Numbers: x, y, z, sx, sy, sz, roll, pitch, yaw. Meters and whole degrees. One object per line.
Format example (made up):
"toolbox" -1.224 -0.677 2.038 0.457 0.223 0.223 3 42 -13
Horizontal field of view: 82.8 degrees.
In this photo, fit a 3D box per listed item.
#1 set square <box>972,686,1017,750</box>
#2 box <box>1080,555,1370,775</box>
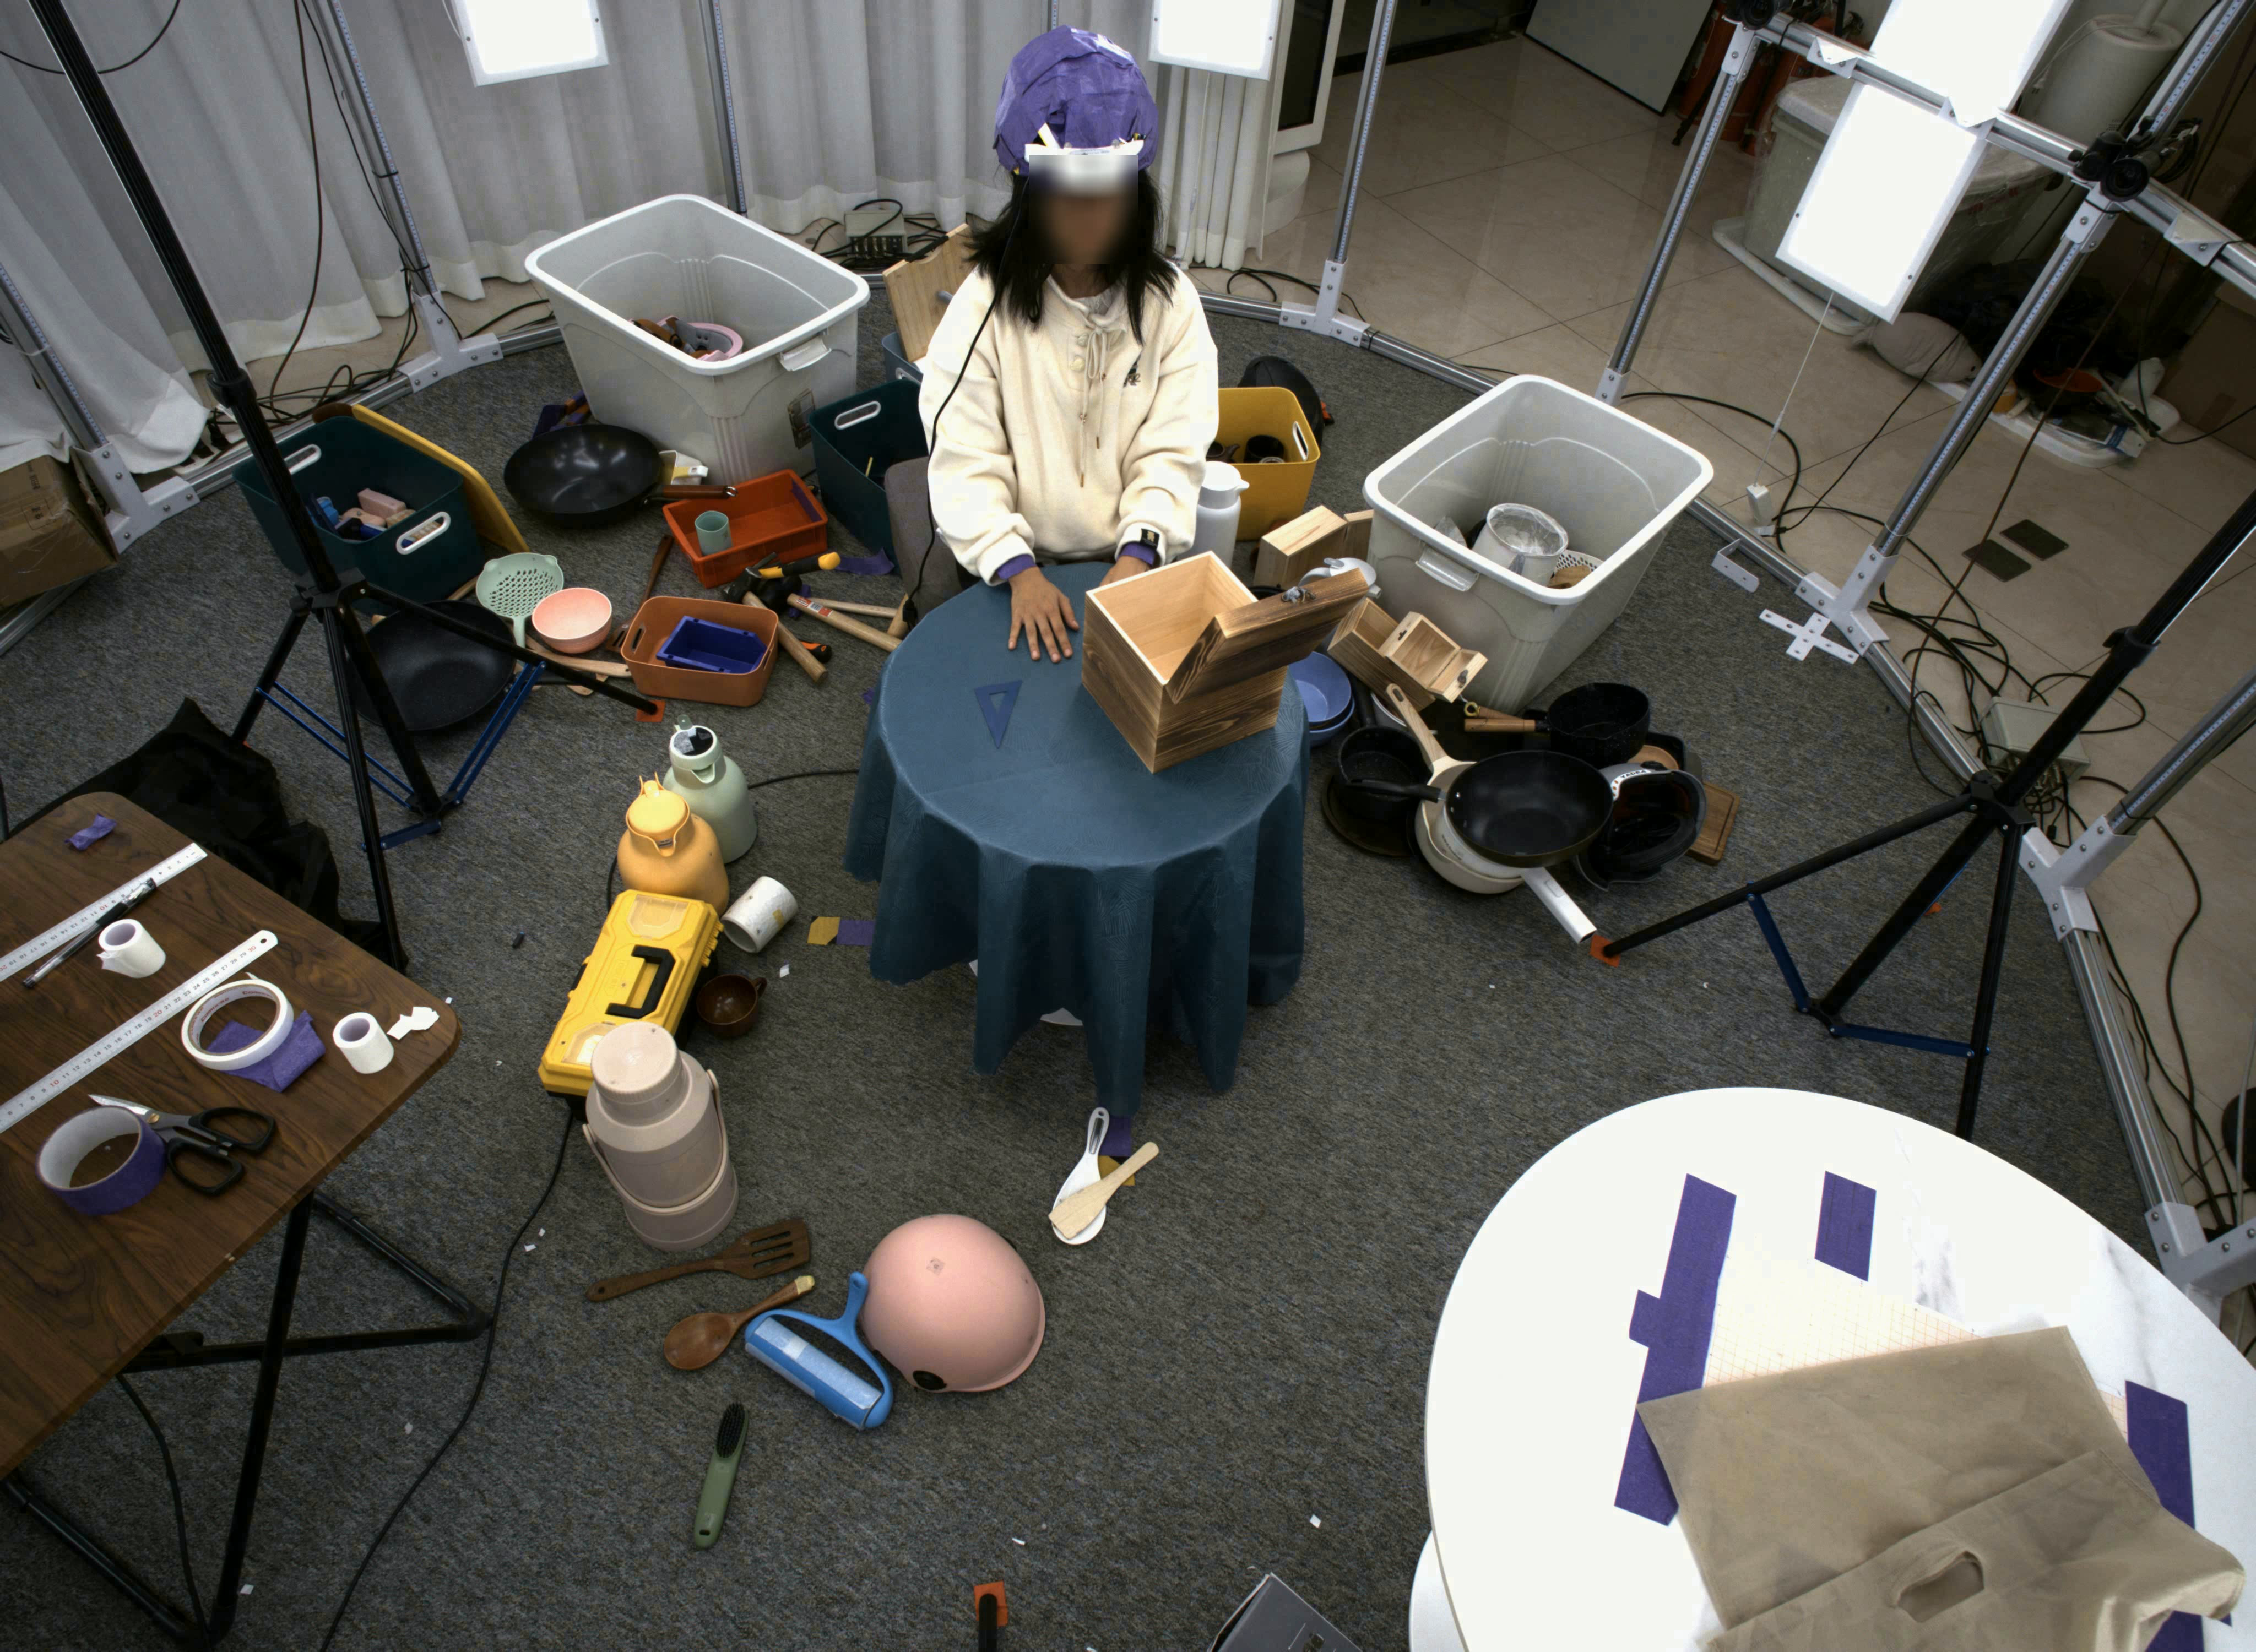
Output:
"set square" -0.201 -0.159 1.791 0.061 0.006 0.135 15 49 6
"box" 0.108 -0.250 1.665 0.209 0.366 0.329 -21 55 -22
